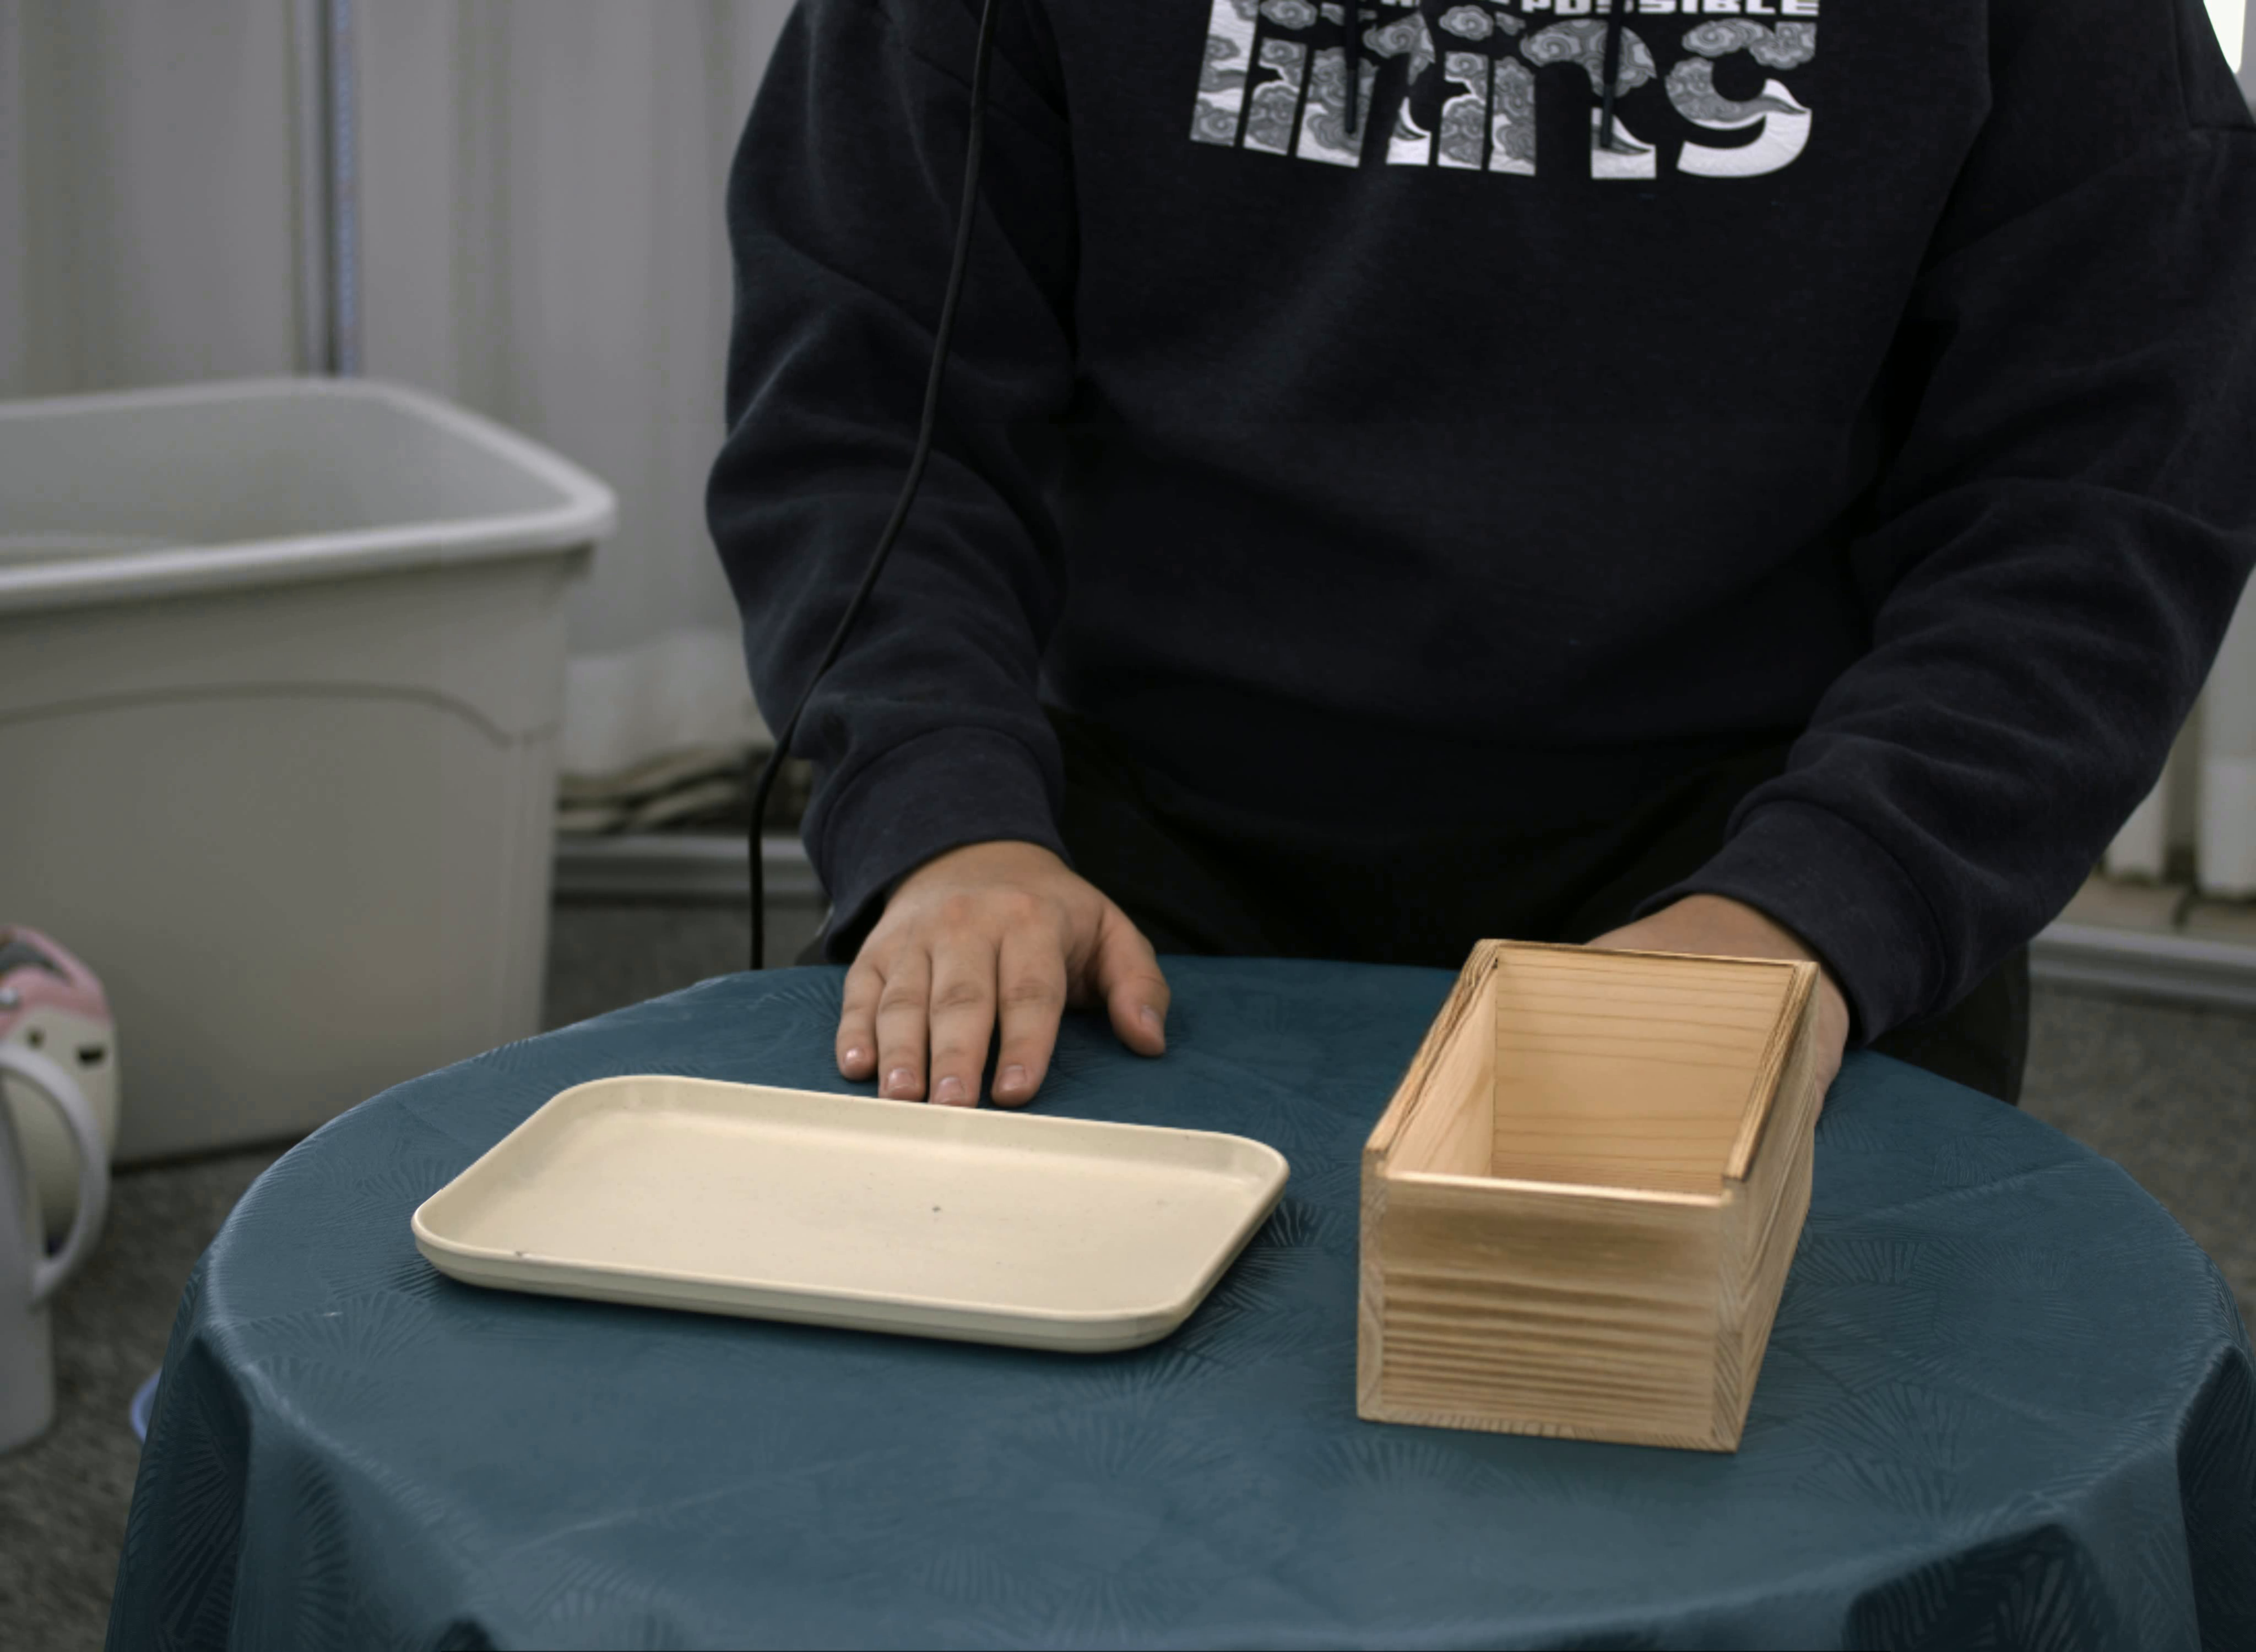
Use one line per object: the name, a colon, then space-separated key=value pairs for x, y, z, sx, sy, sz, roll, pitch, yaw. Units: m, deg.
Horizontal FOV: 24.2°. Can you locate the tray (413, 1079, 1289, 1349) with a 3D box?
tray: x=-0.081 y=0.116 z=1.577 sx=0.238 sy=0.017 sz=0.171 roll=5 pitch=15 yaw=14

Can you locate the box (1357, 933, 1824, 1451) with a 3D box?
box: x=0.137 y=0.101 z=1.523 sx=0.107 sy=0.081 sz=0.211 roll=4 pitch=16 yaw=11
